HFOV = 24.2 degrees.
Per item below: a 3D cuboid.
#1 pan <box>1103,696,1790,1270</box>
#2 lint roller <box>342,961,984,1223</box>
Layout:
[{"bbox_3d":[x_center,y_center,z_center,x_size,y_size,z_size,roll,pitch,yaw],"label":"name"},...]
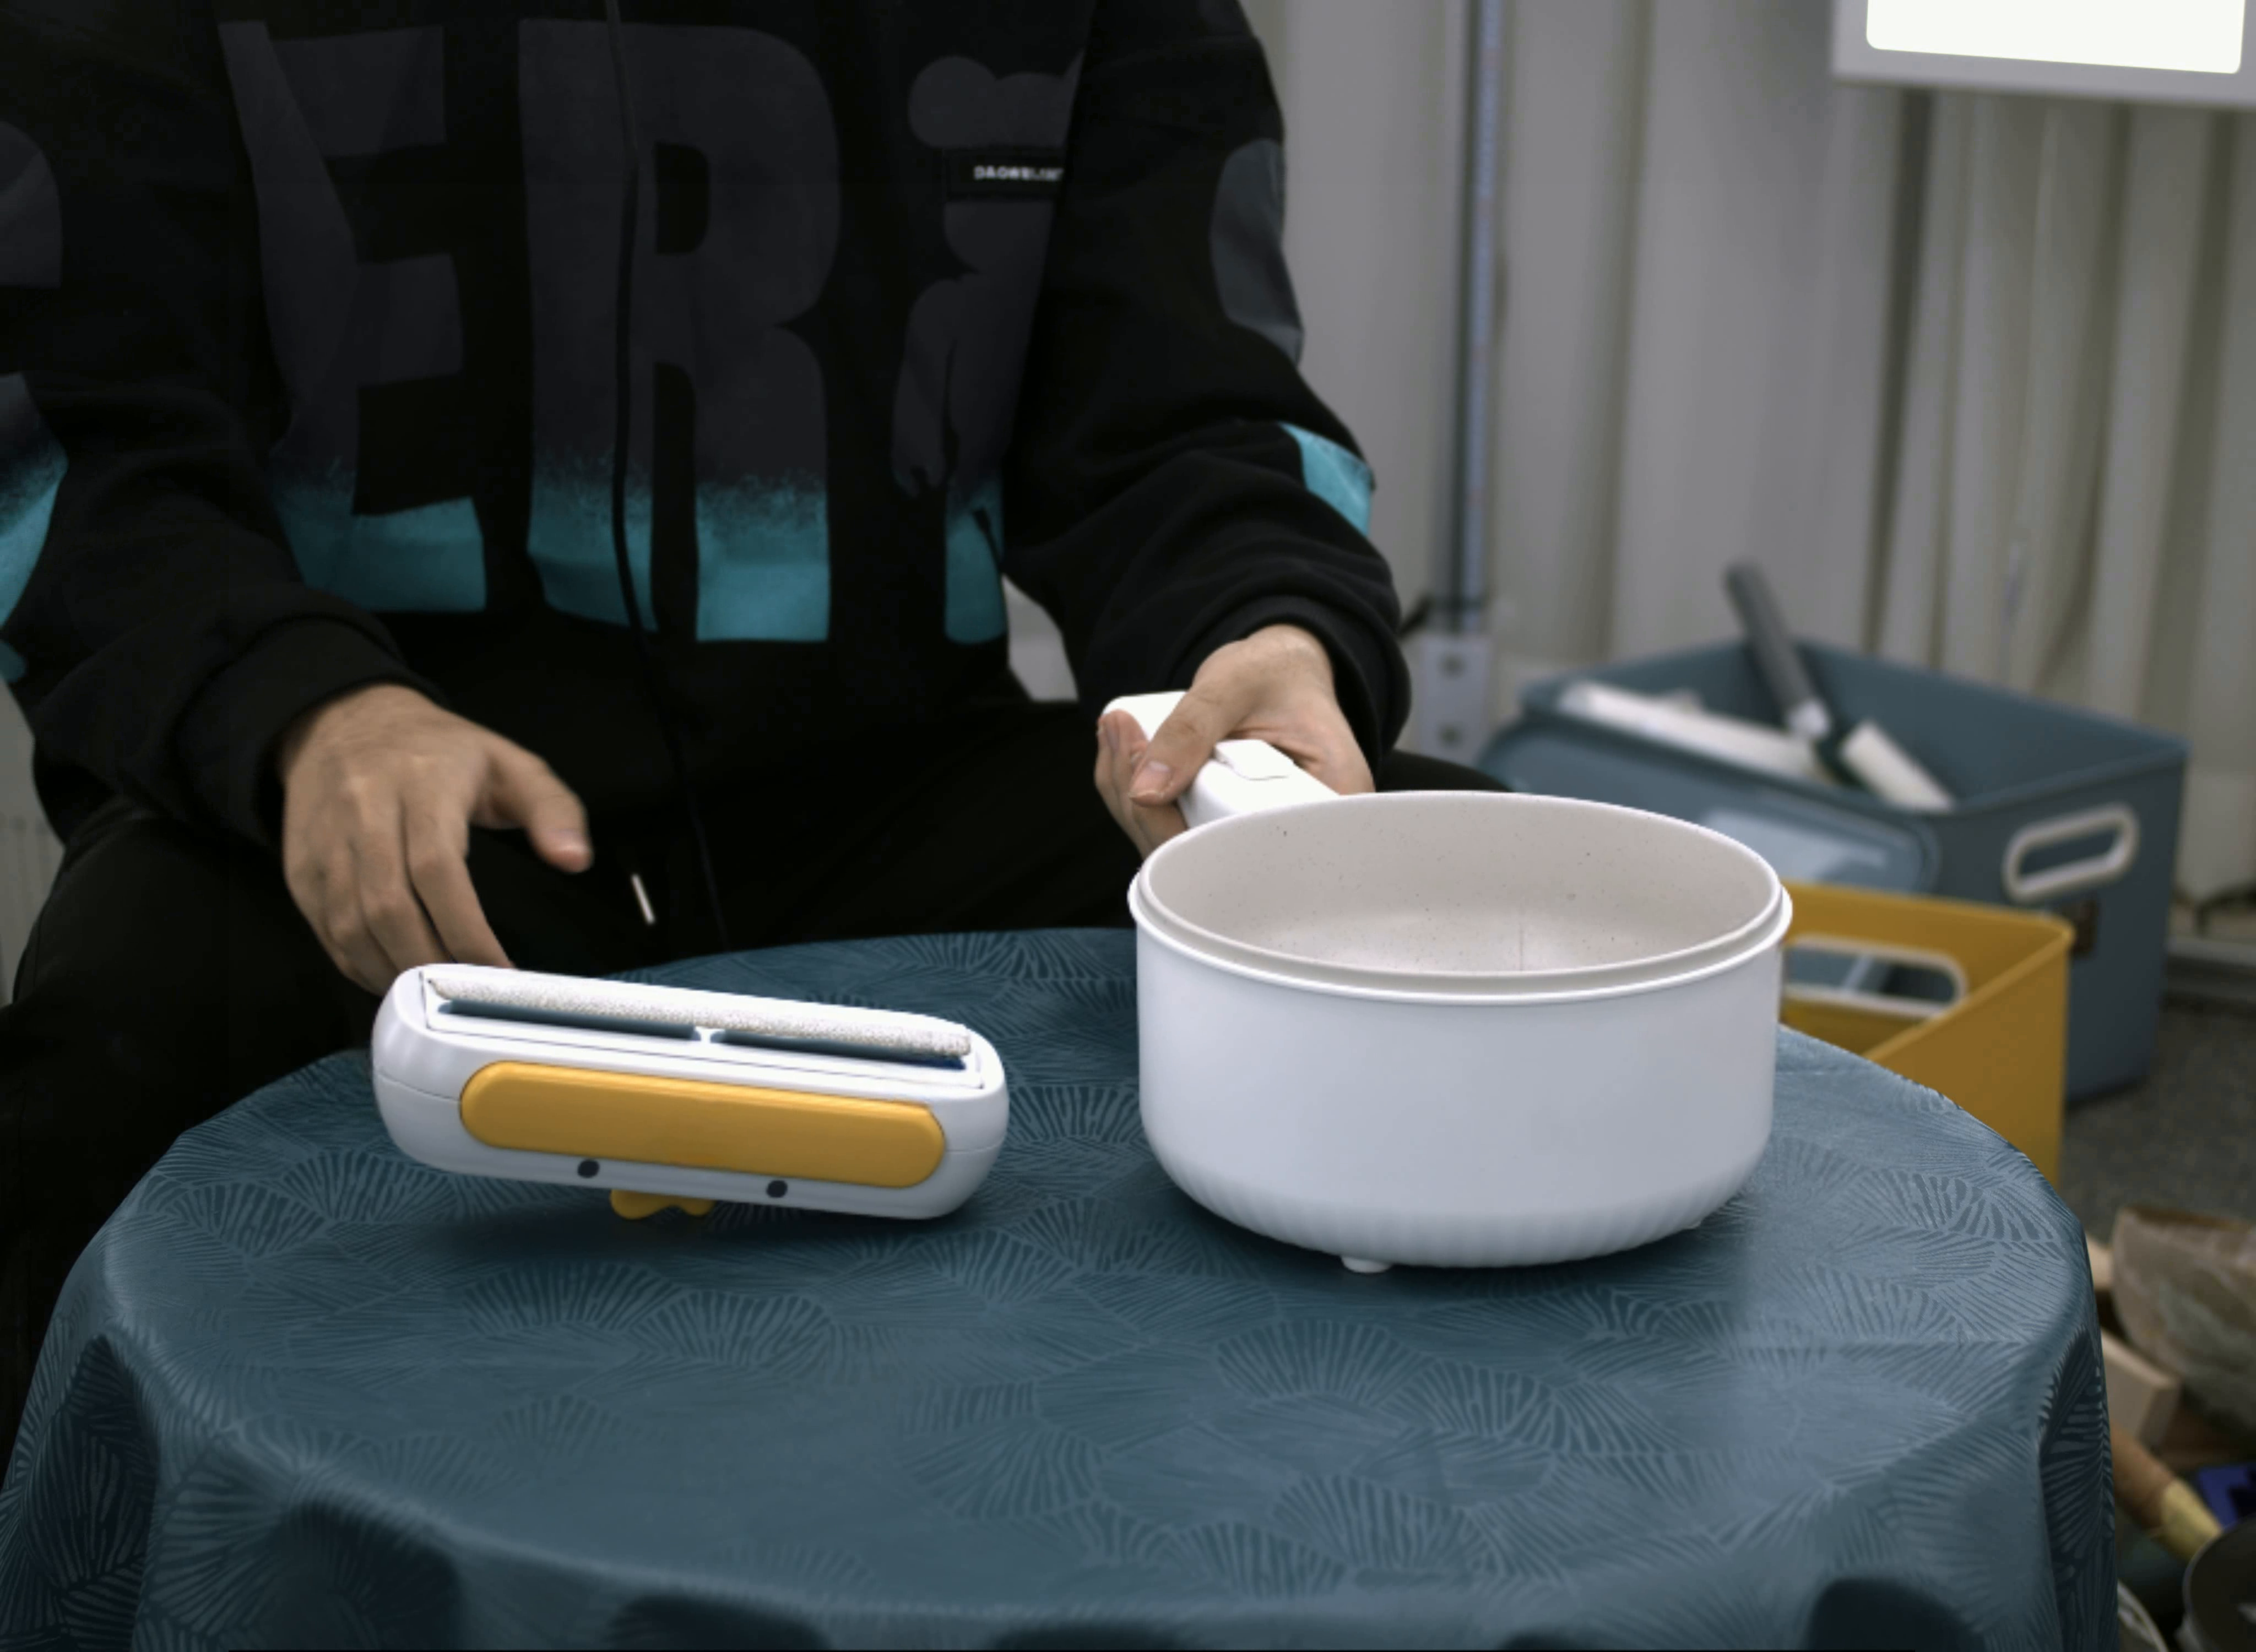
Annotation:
[{"bbox_3d":[0.071,0.045,1.674,0.202,0.103,0.351,-6,17,-21],"label":"pan"},{"bbox_3d":[-0.147,0.072,1.634,0.193,0.075,0.191,3,13,-10],"label":"lint roller"}]
